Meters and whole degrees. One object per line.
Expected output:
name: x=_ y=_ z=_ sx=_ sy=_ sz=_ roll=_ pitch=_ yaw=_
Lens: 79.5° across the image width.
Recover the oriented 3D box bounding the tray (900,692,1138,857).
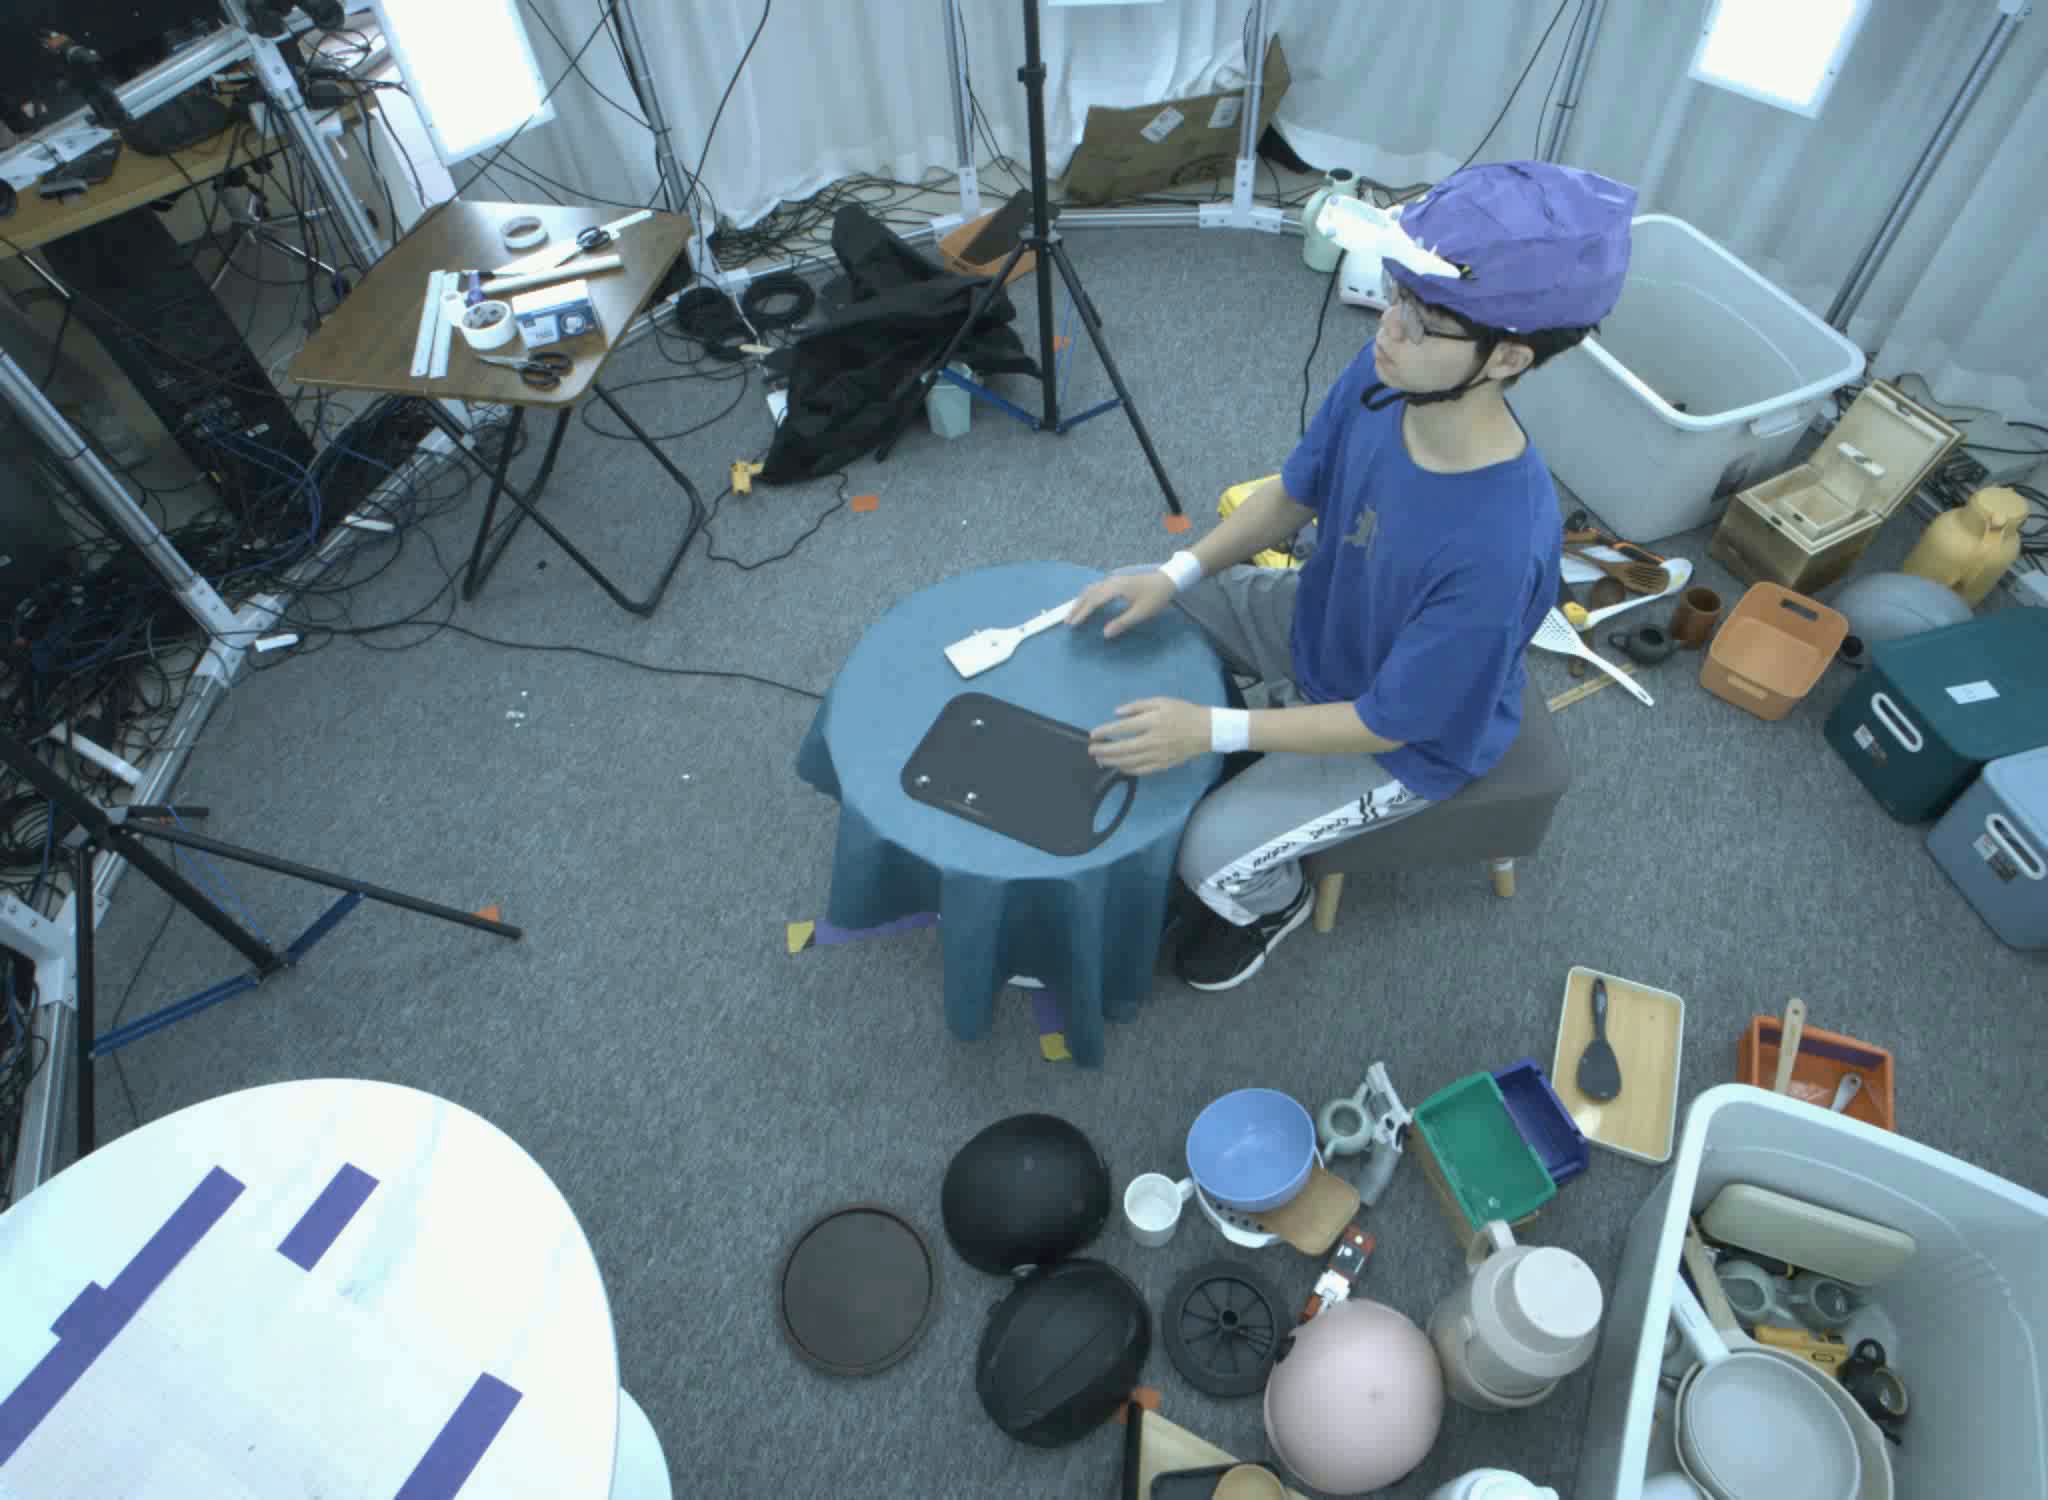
tray: x=-0.001 y=0.031 z=1.751 sx=0.321 sy=0.010 sz=0.211 roll=22 pitch=58 yaw=16

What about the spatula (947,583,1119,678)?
spatula: x=0.020 y=-0.195 z=1.911 sx=0.295 sy=0.011 sz=0.071 roll=-27 pitch=57 yaw=-16
